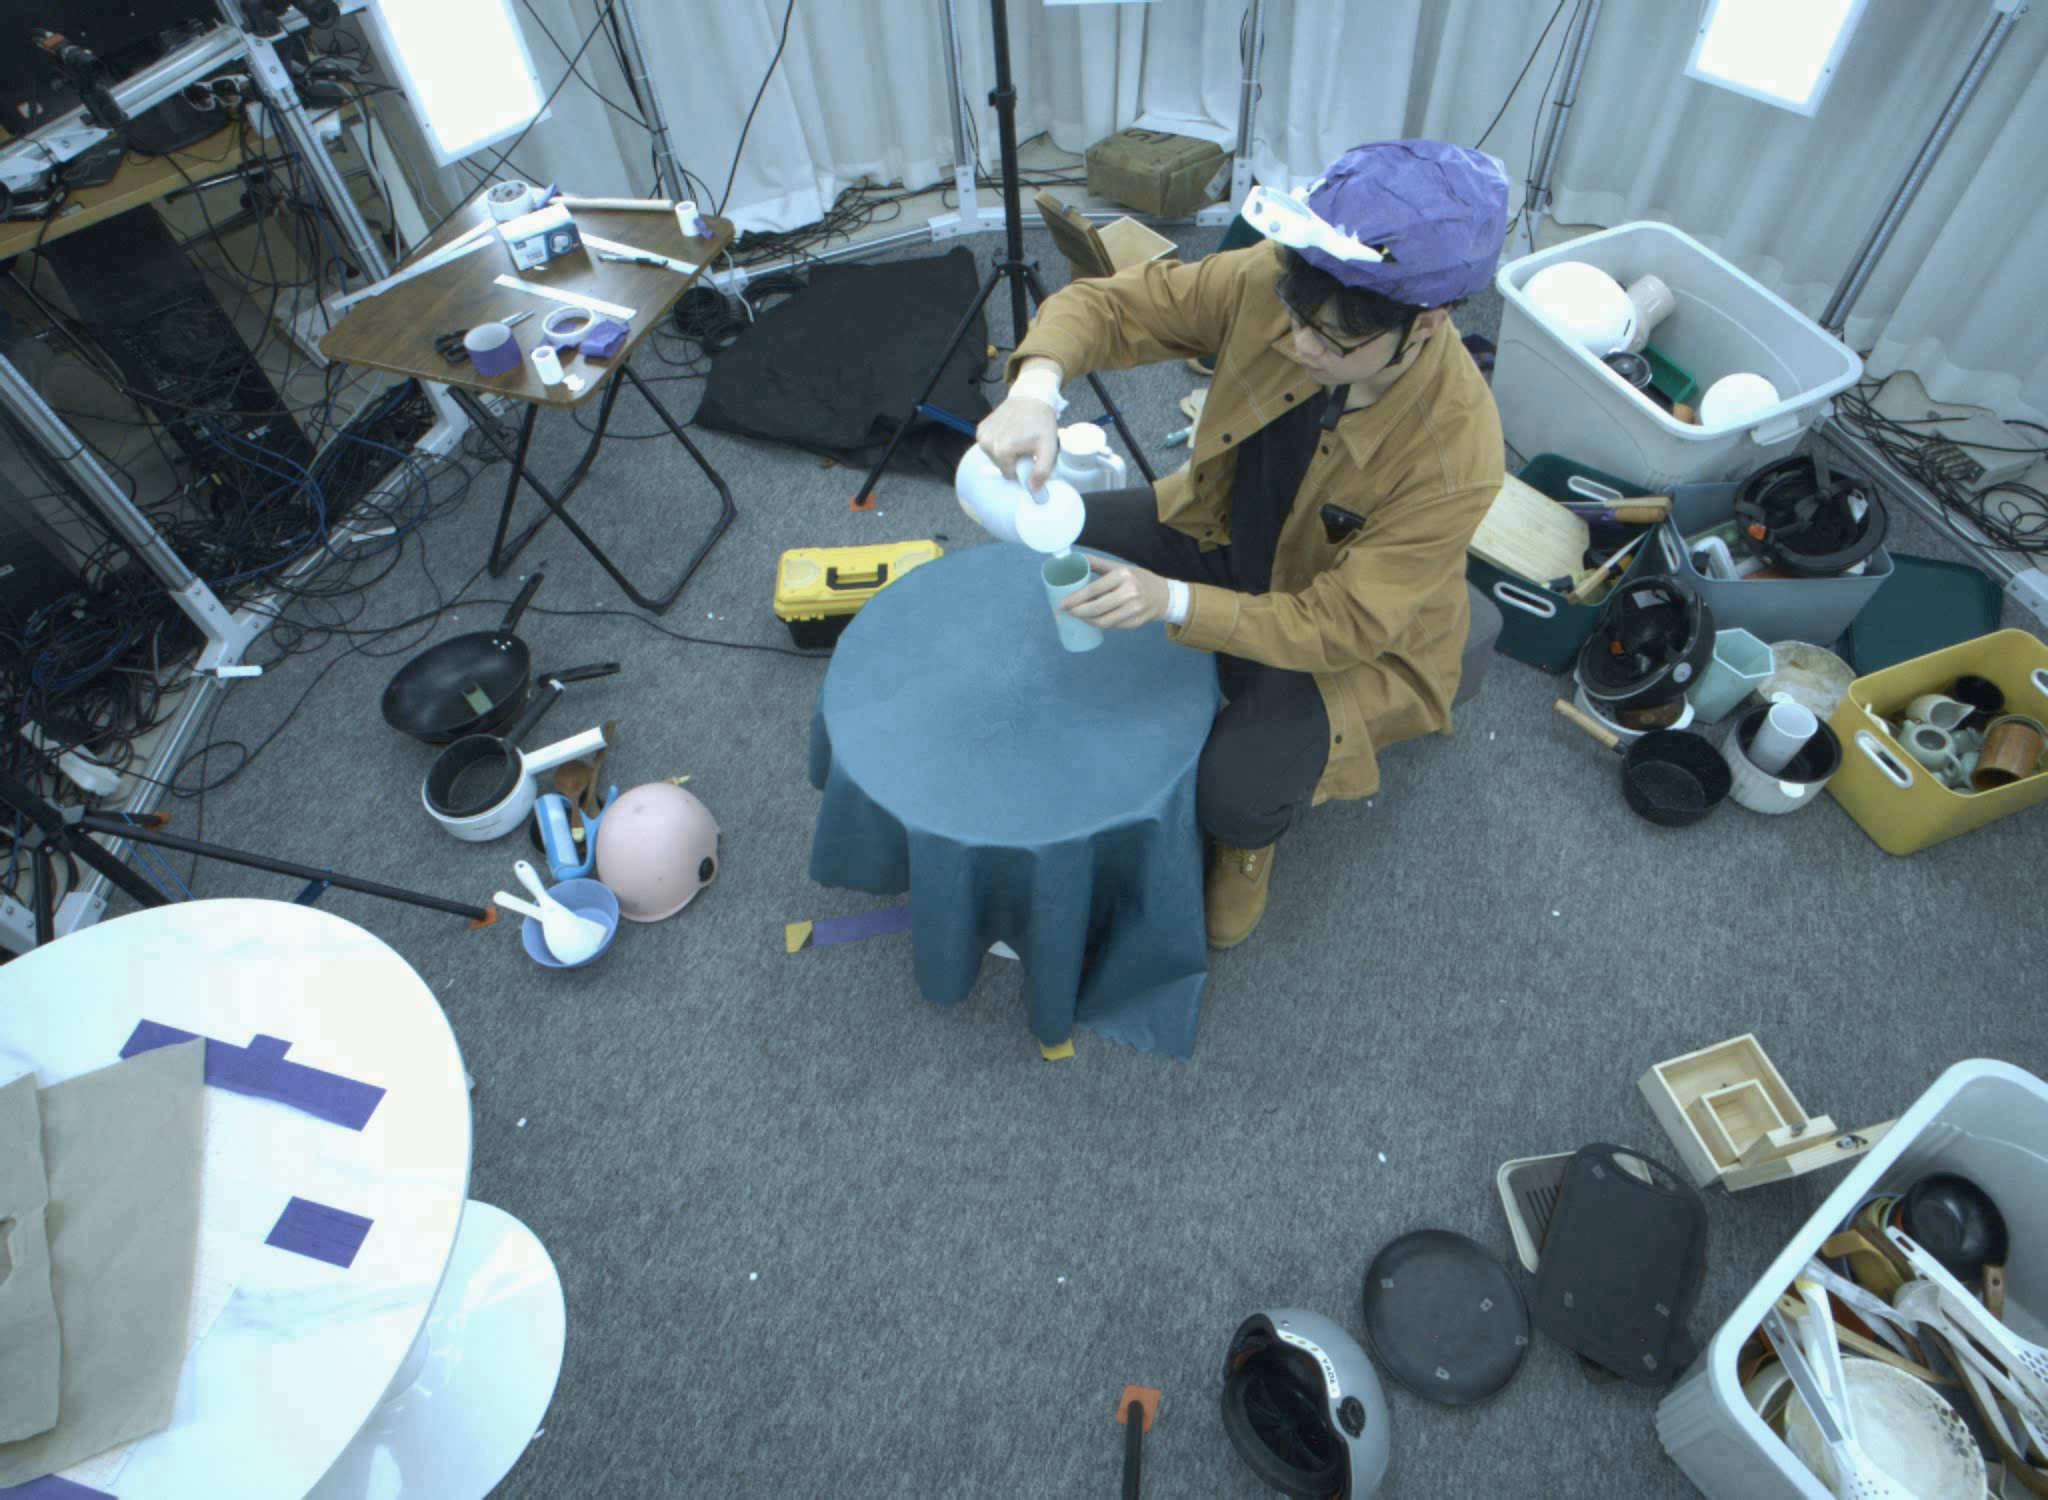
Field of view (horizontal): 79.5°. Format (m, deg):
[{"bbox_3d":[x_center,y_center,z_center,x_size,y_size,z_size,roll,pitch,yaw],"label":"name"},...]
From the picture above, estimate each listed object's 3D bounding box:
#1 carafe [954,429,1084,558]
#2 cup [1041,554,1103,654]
[{"bbox_3d":[-0.010,-0.351,1.618,0.133,0.170,0.244,-29,28,-4],"label":"carafe"},{"bbox_3d":[0.066,-0.194,1.636,0.066,0.134,0.066,-6,55,9],"label":"cup"}]
